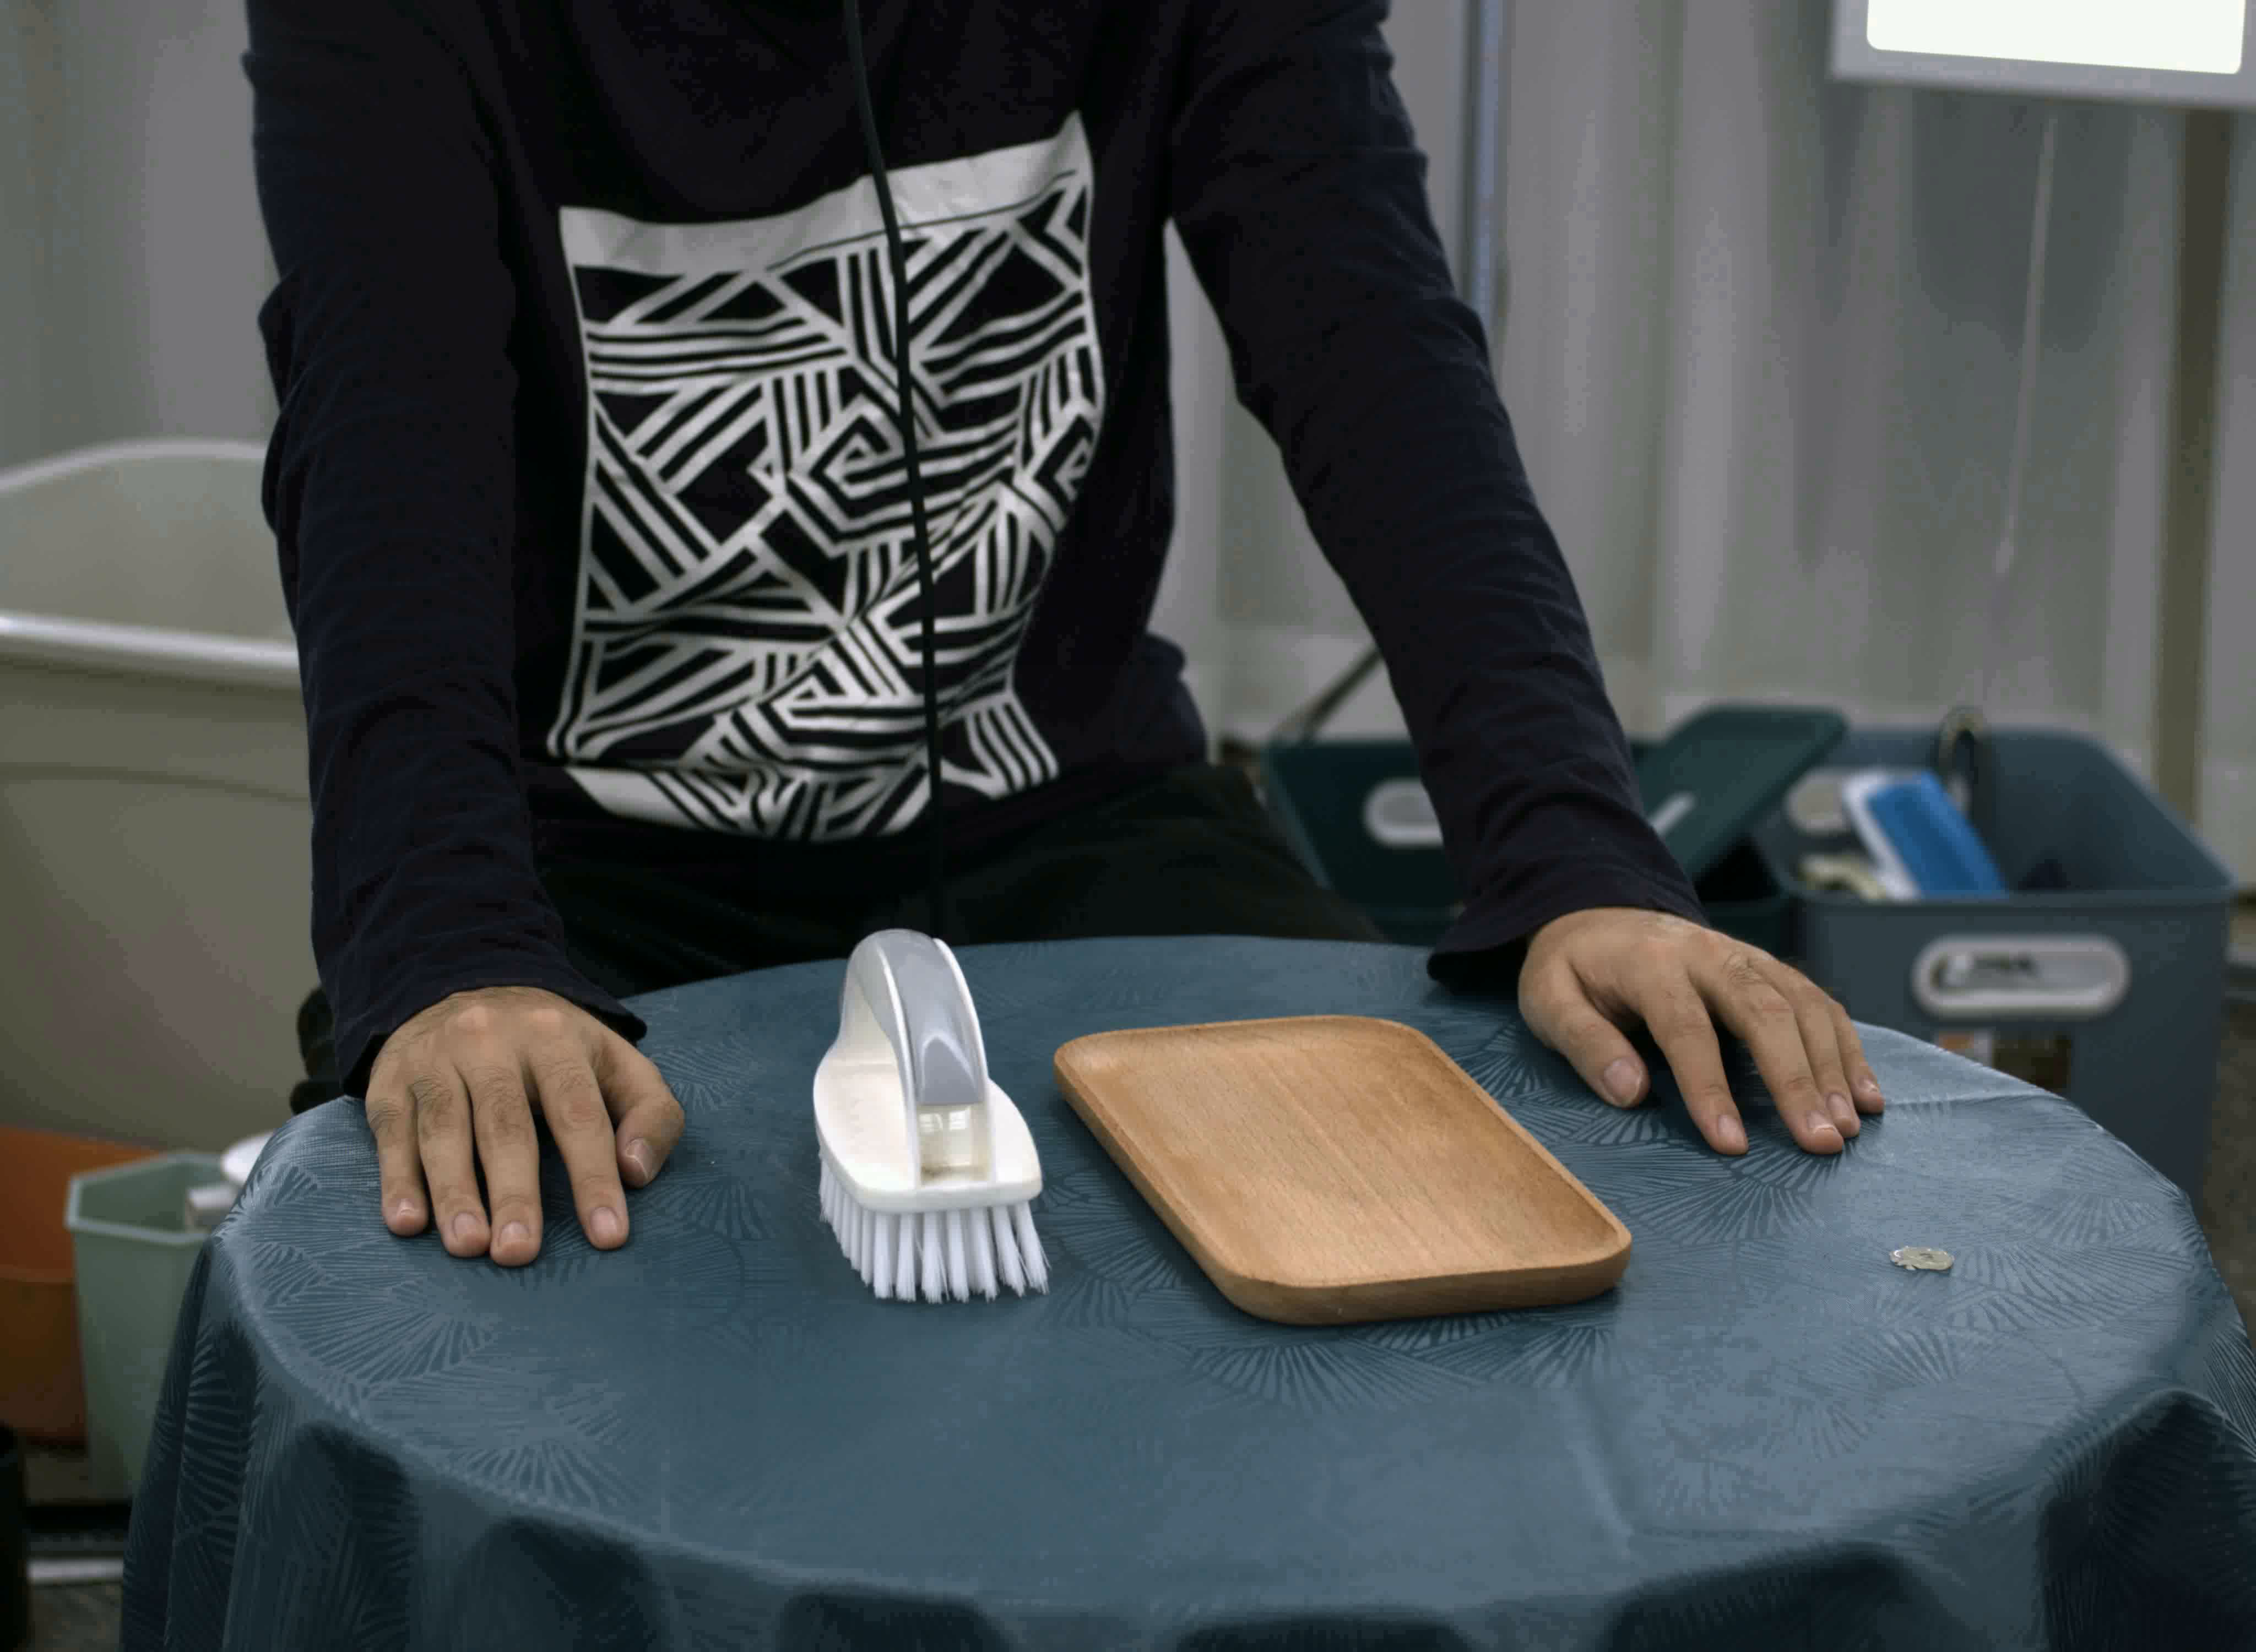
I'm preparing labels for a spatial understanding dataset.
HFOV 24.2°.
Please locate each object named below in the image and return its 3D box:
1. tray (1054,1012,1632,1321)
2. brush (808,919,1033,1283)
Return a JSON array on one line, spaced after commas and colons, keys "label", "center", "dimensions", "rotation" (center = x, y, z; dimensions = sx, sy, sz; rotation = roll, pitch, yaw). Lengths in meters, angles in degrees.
[{"label": "tray", "center": [0.062, 0.103, 1.633], "dimensions": [0.131, 0.023, 0.248], "rotation": [-1, 14, -14]}, {"label": "brush", "center": [-0.069, 0.073, 1.594], "dimensions": [0.061, 0.095, 0.174], "rotation": [-2, 14, -12]}]
